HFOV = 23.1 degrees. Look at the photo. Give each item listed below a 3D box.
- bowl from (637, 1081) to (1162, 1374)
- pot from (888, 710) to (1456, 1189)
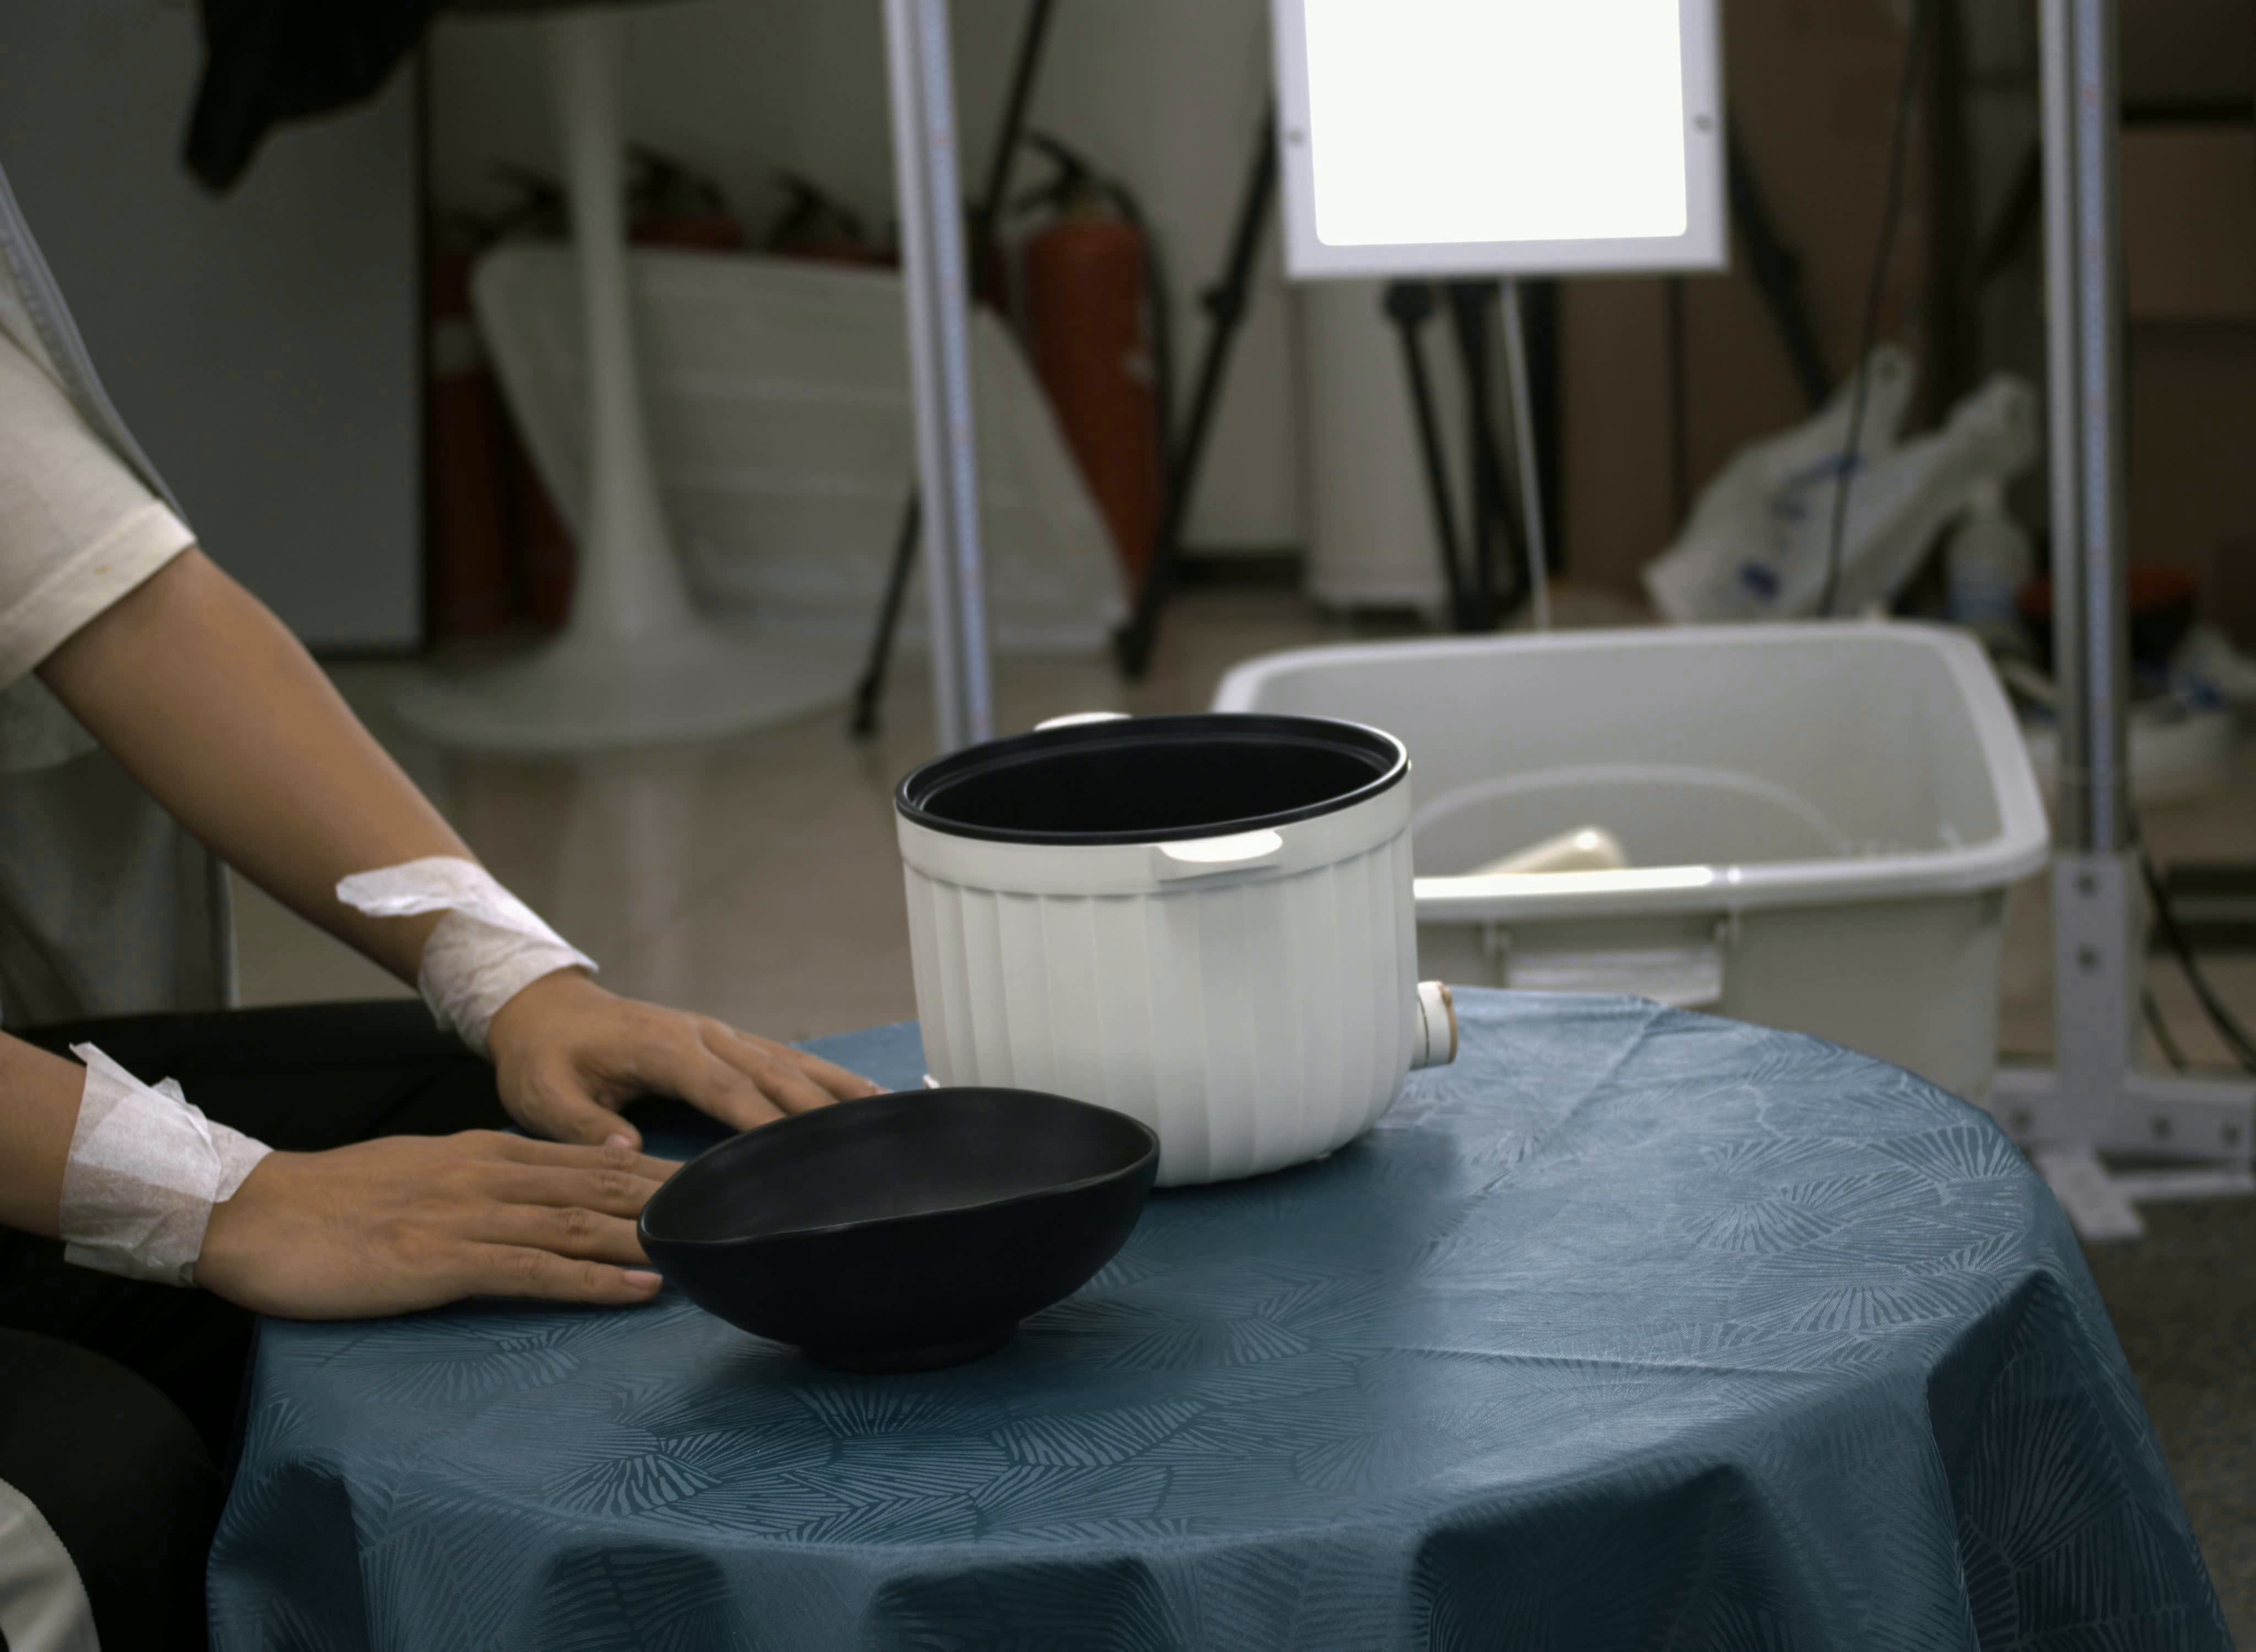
[{"bbox_3d":[-0.070,0.133,1.756,0.168,0.067,0.138,-9,13,-11],"label":"bowl"},{"bbox_3d":[0.017,0.044,1.938,0.188,0.143,0.242,-11,15,-11],"label":"pot"}]
